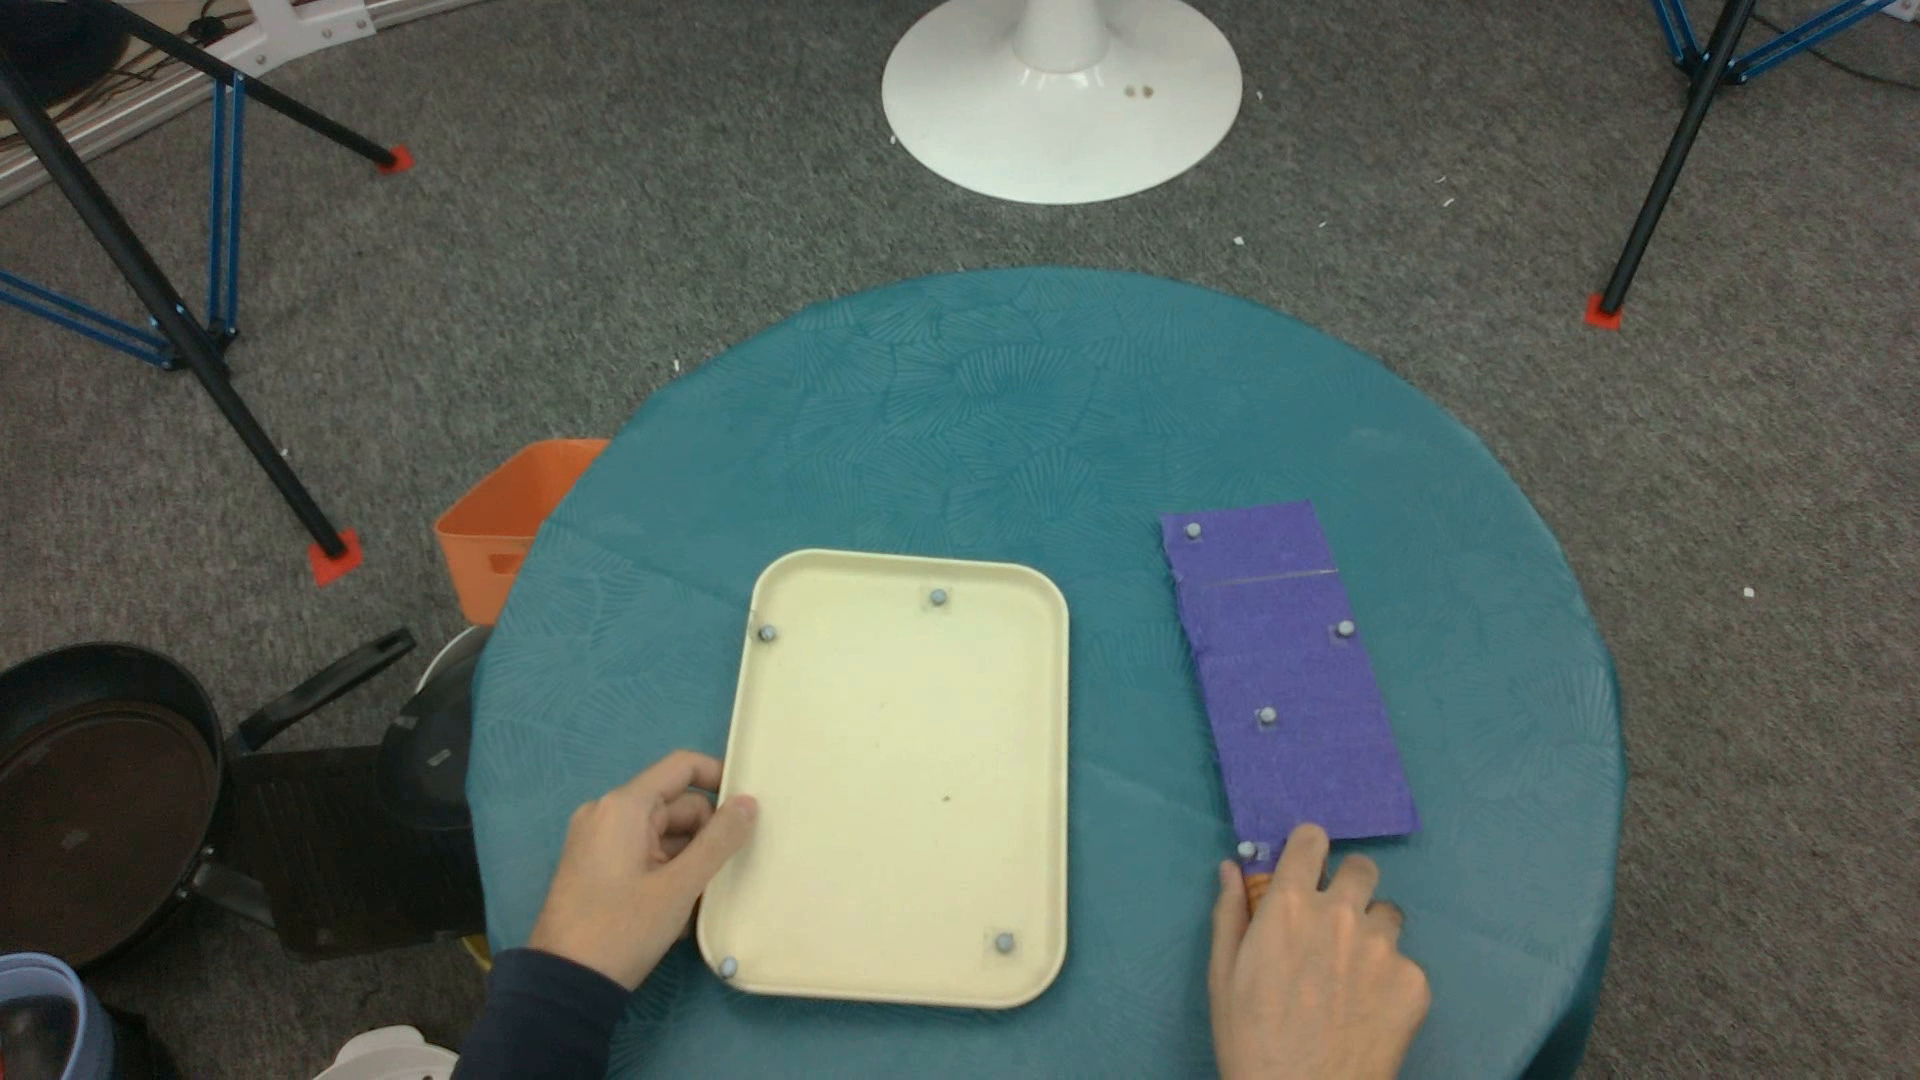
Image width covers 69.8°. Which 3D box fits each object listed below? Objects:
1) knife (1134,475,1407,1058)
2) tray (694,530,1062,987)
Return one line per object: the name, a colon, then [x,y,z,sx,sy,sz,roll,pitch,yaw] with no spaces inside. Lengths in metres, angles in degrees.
knife: [0.167,0.090,0.689,0.104,0.032,0.316,-6,55,-4]
tray: [-0.034,0.101,0.688,0.171,0.017,0.241,5,56,-3]
